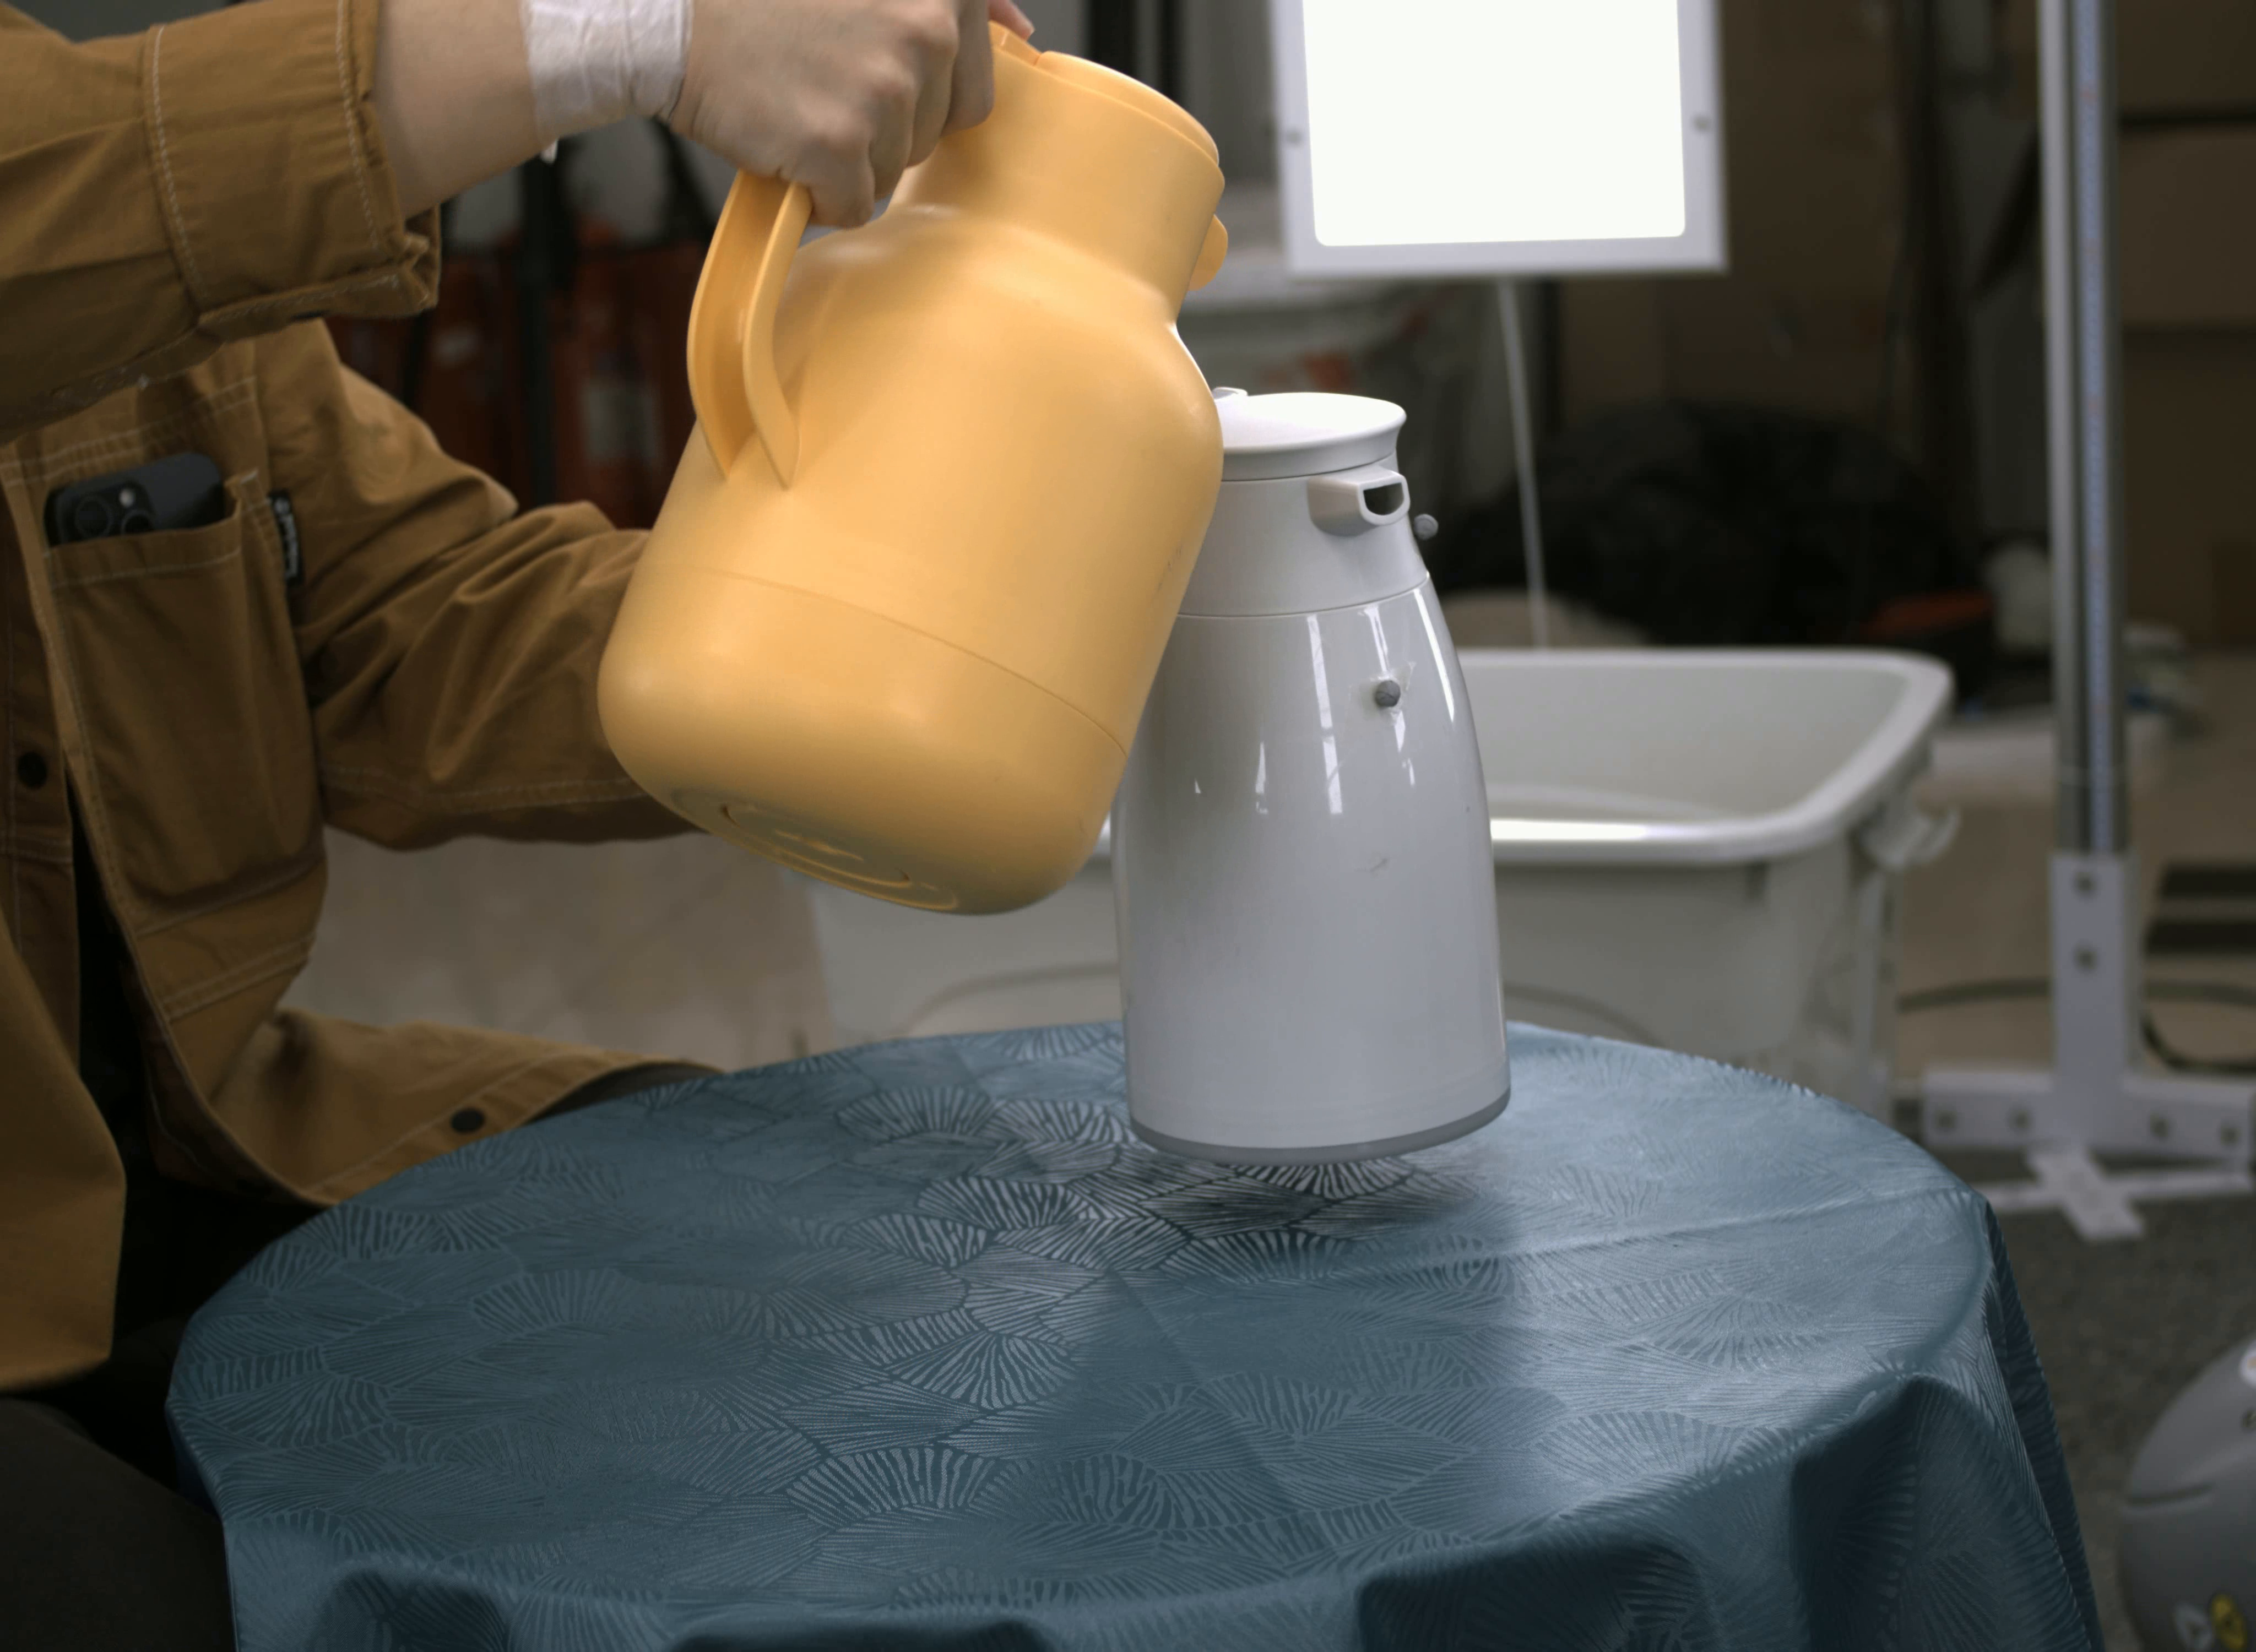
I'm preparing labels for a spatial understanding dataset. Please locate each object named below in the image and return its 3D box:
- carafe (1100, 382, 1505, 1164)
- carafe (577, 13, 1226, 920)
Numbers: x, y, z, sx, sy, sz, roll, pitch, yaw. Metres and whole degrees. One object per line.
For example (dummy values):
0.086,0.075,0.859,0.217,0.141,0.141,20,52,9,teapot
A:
0.043,-0.026,1.874,0.129,0.249,0.171,-14,16,-32,carafe
-0.069,-0.119,1.698,0.167,0.260,0.198,11,-15,42,carafe
